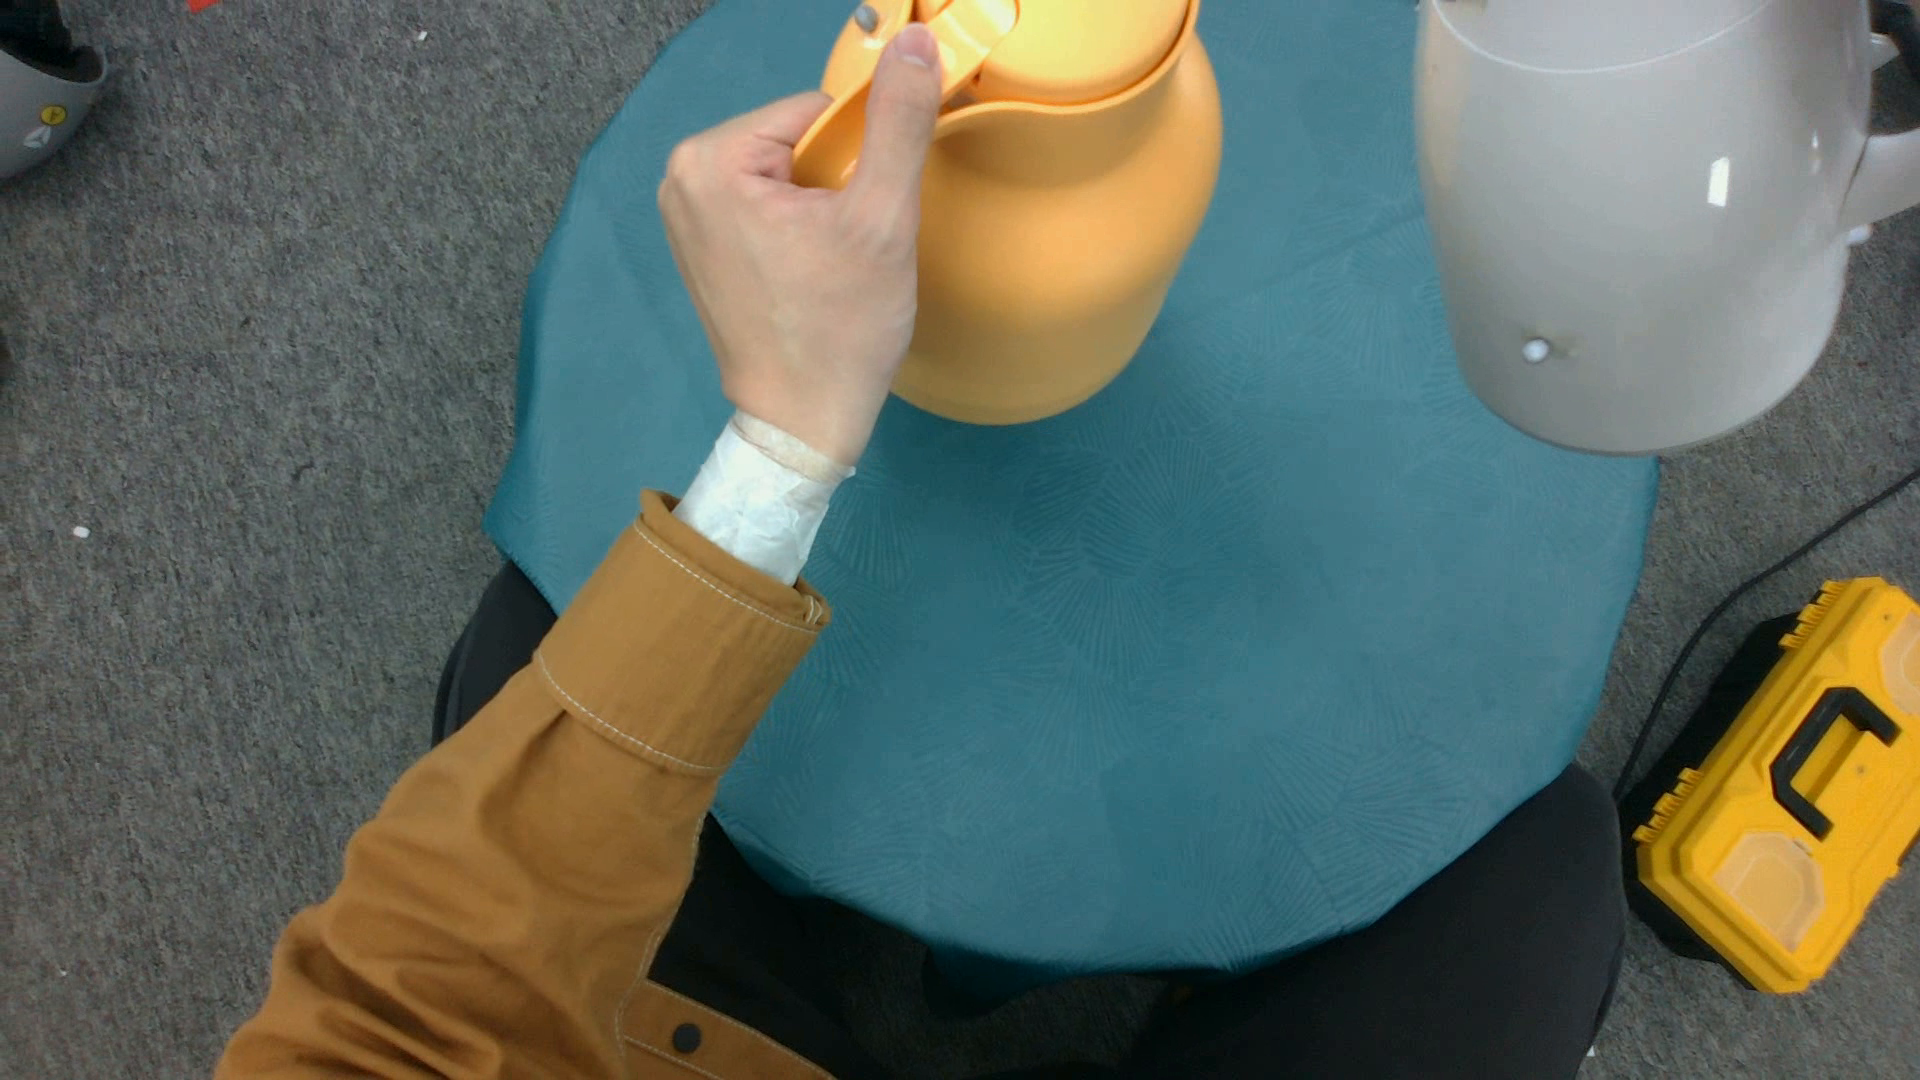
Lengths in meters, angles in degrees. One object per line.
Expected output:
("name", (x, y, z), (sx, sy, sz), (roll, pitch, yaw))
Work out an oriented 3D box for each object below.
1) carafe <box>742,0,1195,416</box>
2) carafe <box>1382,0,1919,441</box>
("carafe", (-0.003, -0.150, 0.559), (0.203, 0.259, 0.163), (-41, 82, -14))
("carafe", (0.214, -0.142, 0.424), (0.167, 0.248, 0.133), (19, 74, 31))
